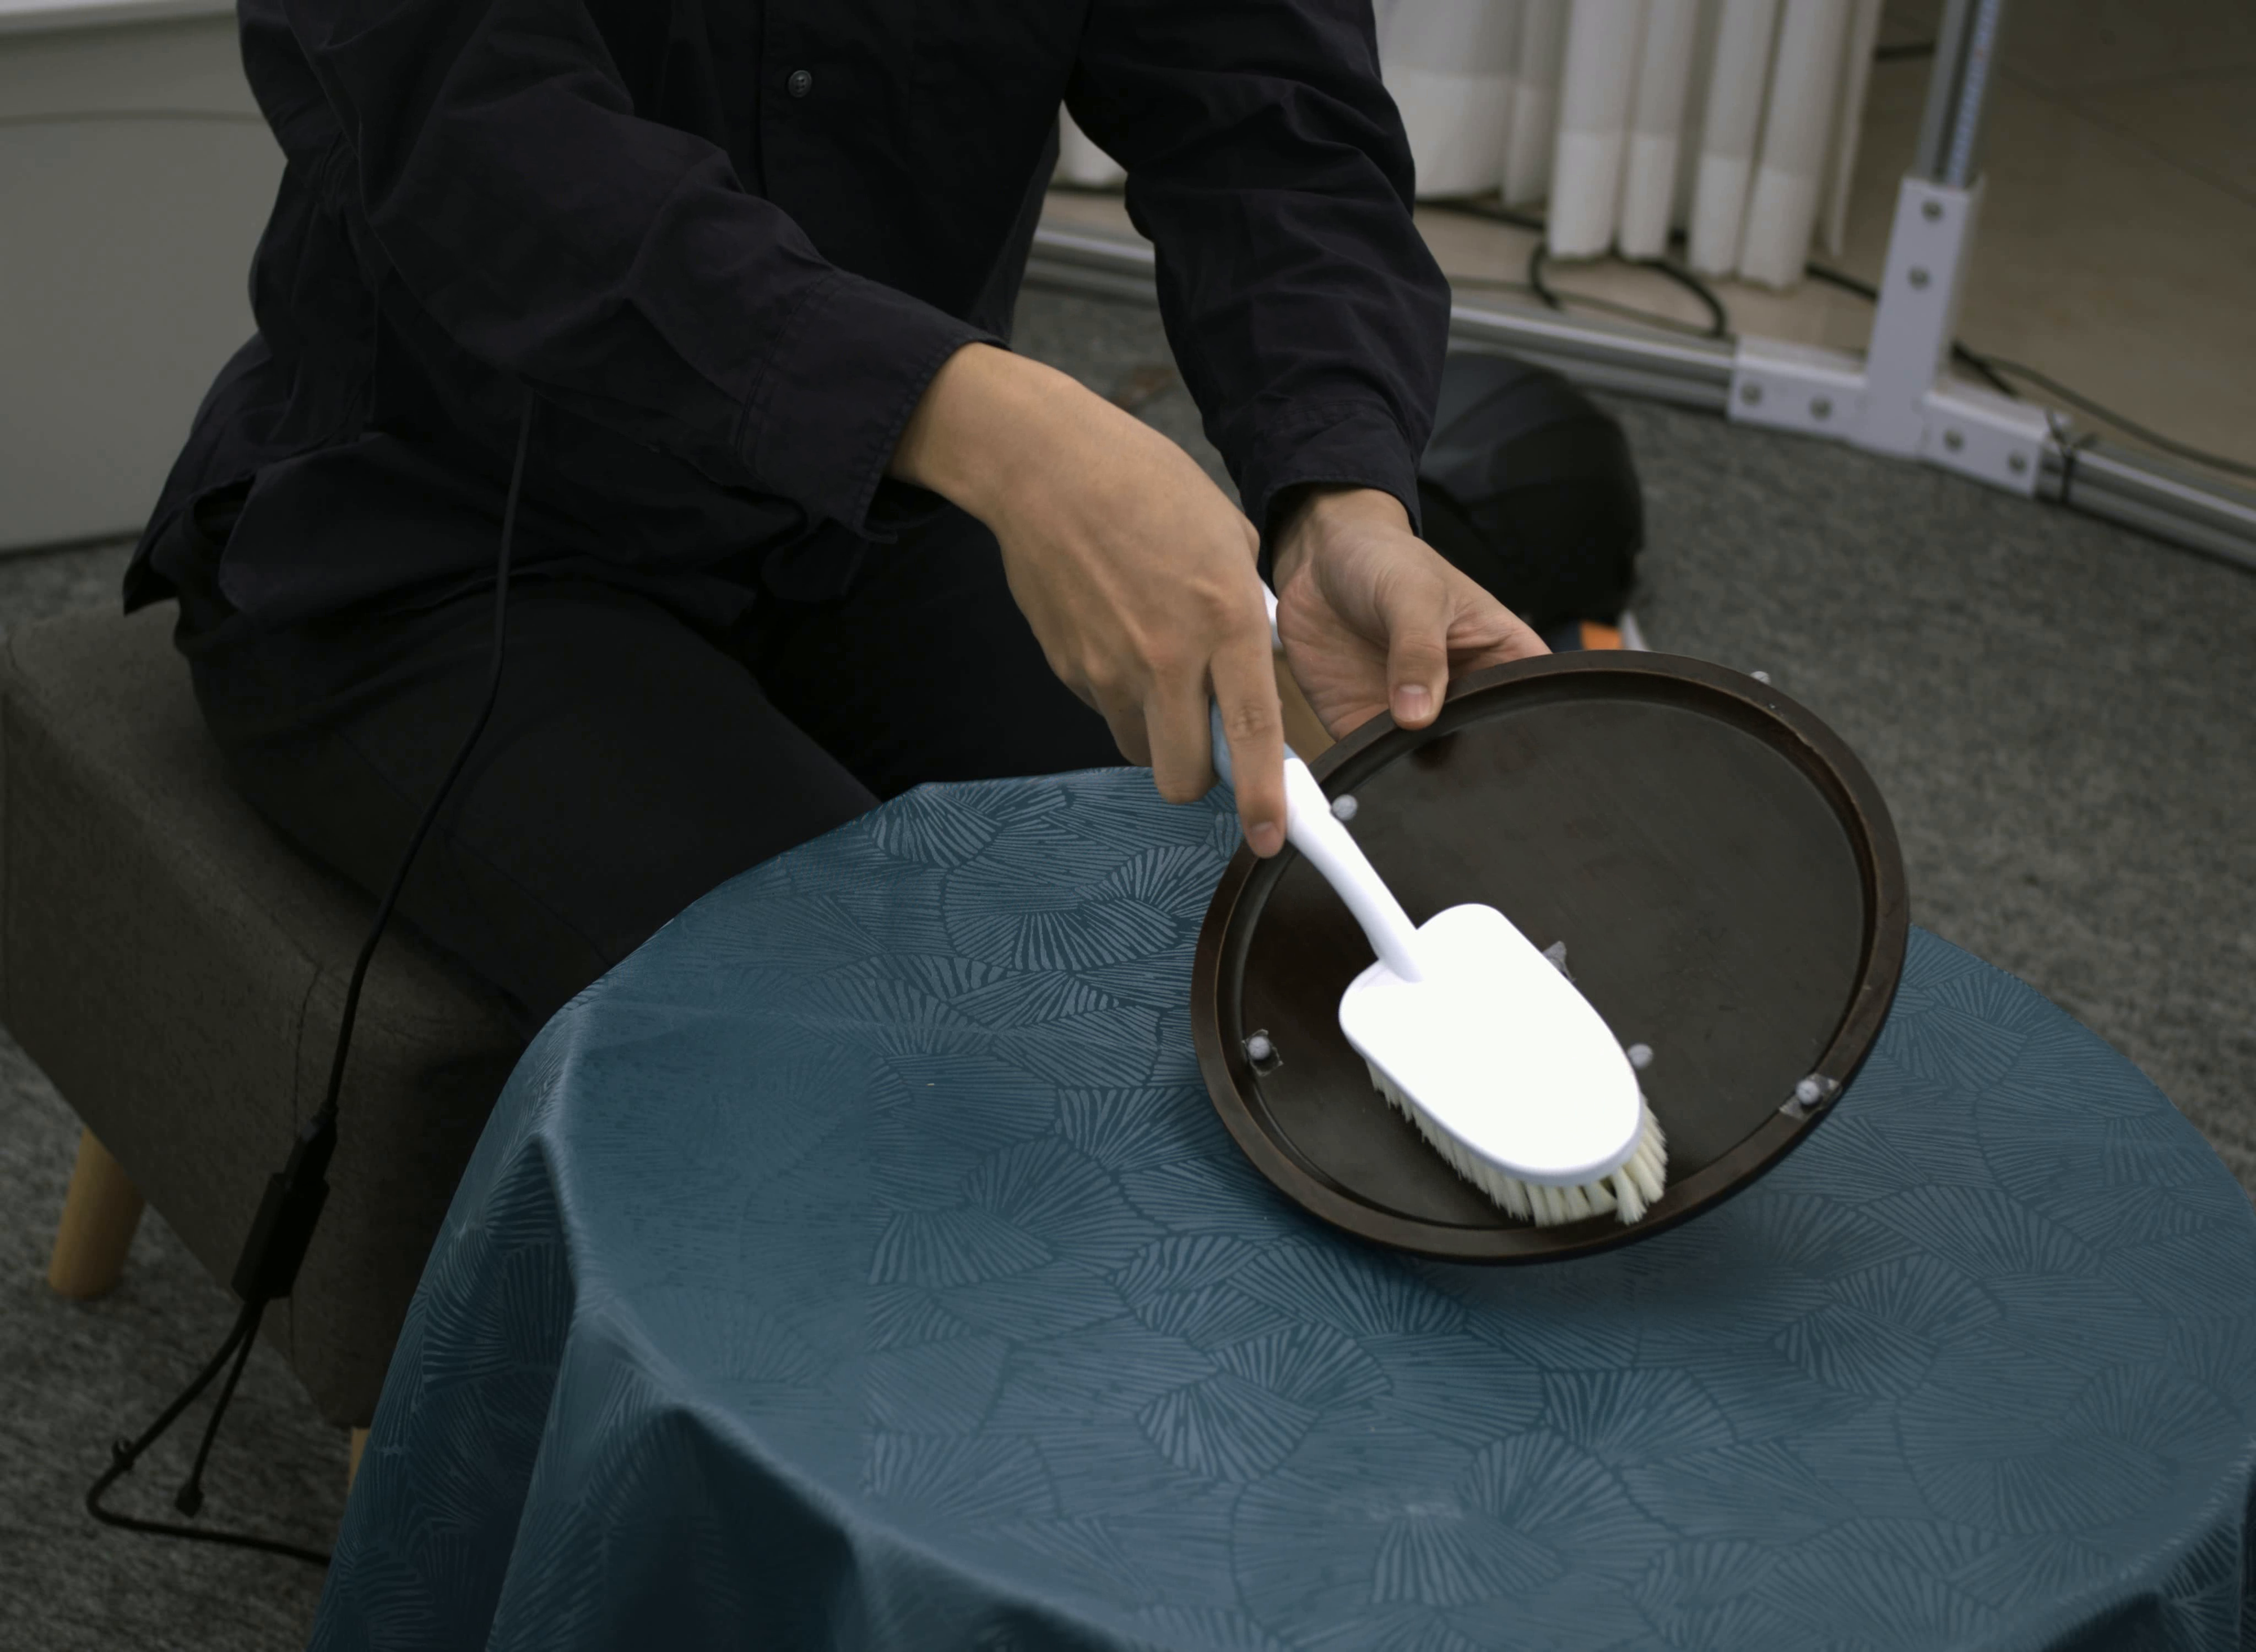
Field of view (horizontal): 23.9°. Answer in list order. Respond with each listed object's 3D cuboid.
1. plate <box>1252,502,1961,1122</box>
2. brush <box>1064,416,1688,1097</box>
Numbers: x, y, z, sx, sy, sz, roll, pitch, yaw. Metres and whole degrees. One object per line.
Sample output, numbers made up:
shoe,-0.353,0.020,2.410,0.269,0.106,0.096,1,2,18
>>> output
plate,0.166,-0.003,1.854,0.255,0.029,0.257,-13,51,15
brush,0.087,-0.024,1.848,0.082,0.084,0.328,-15,52,-38
